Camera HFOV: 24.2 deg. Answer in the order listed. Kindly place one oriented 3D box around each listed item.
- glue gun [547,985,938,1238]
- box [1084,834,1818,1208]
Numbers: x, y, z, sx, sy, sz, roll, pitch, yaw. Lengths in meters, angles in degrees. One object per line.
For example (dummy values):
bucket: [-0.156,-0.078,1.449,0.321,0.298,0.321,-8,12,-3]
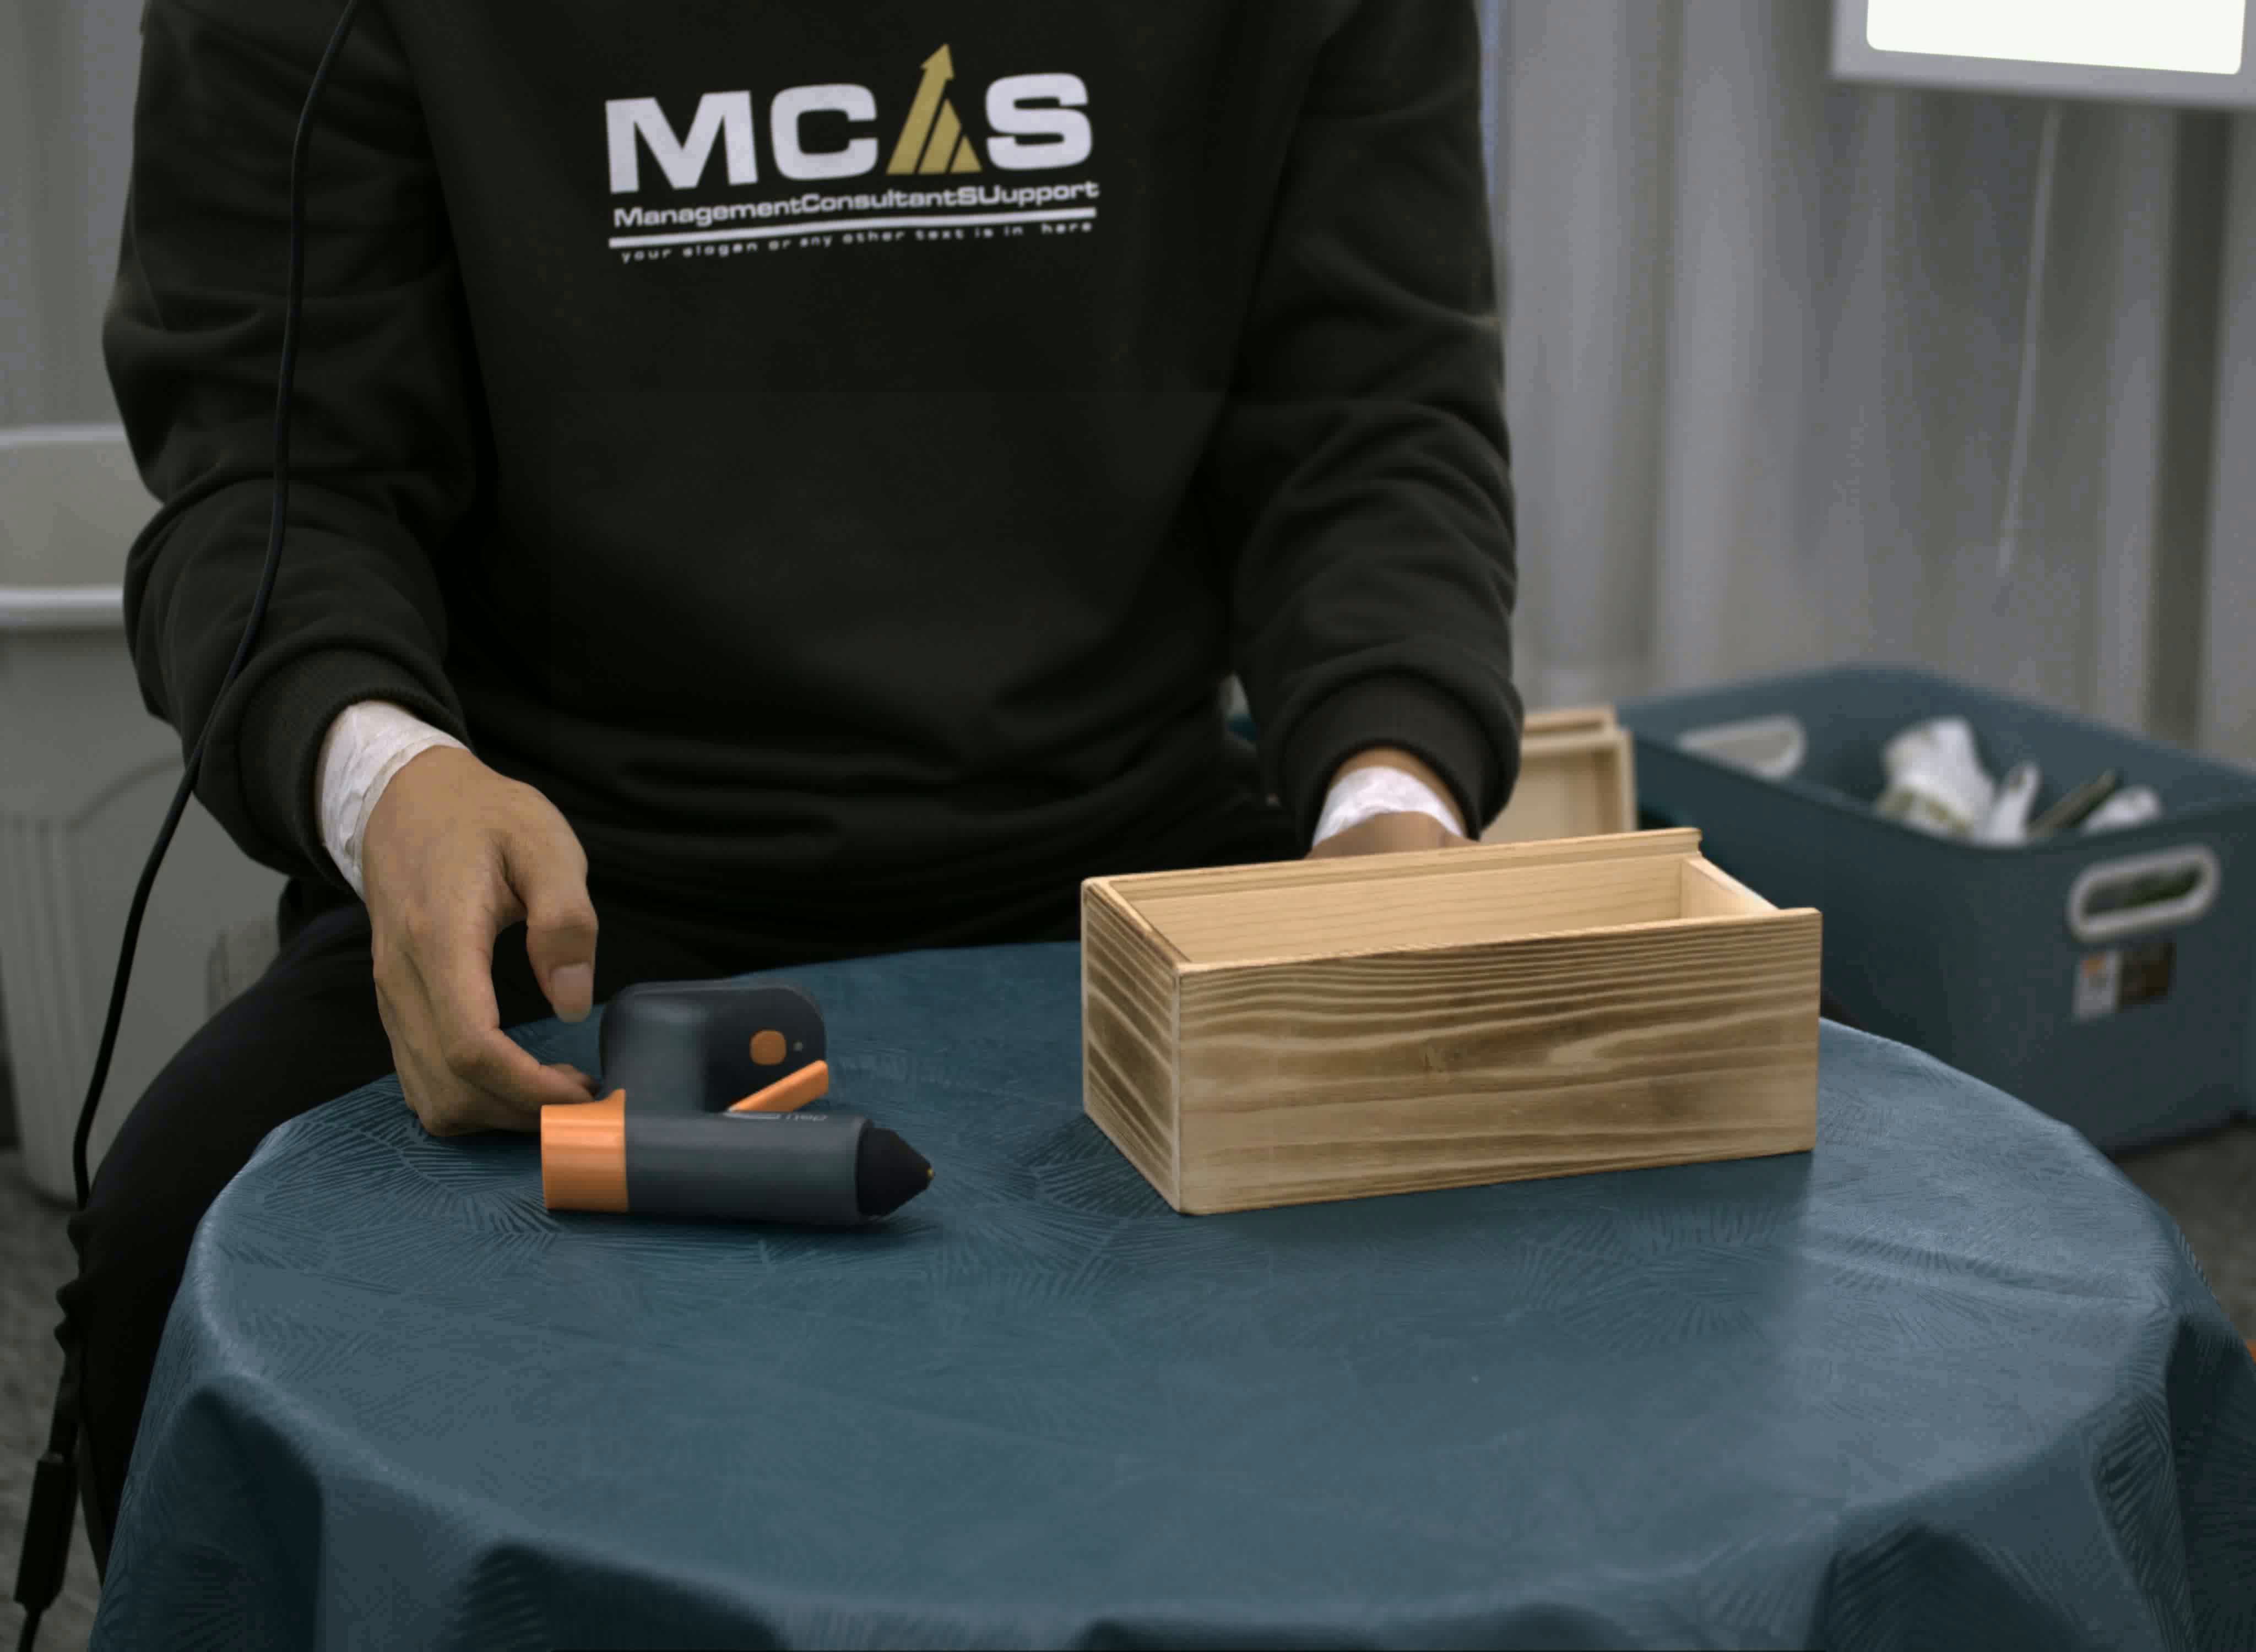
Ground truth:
glue gun: [-0.122,0.091,1.641,0.118,0.041,0.138,1,18,-7]
box: [0.101,0.060,1.674,0.212,0.081,0.106,-4,16,-17]
